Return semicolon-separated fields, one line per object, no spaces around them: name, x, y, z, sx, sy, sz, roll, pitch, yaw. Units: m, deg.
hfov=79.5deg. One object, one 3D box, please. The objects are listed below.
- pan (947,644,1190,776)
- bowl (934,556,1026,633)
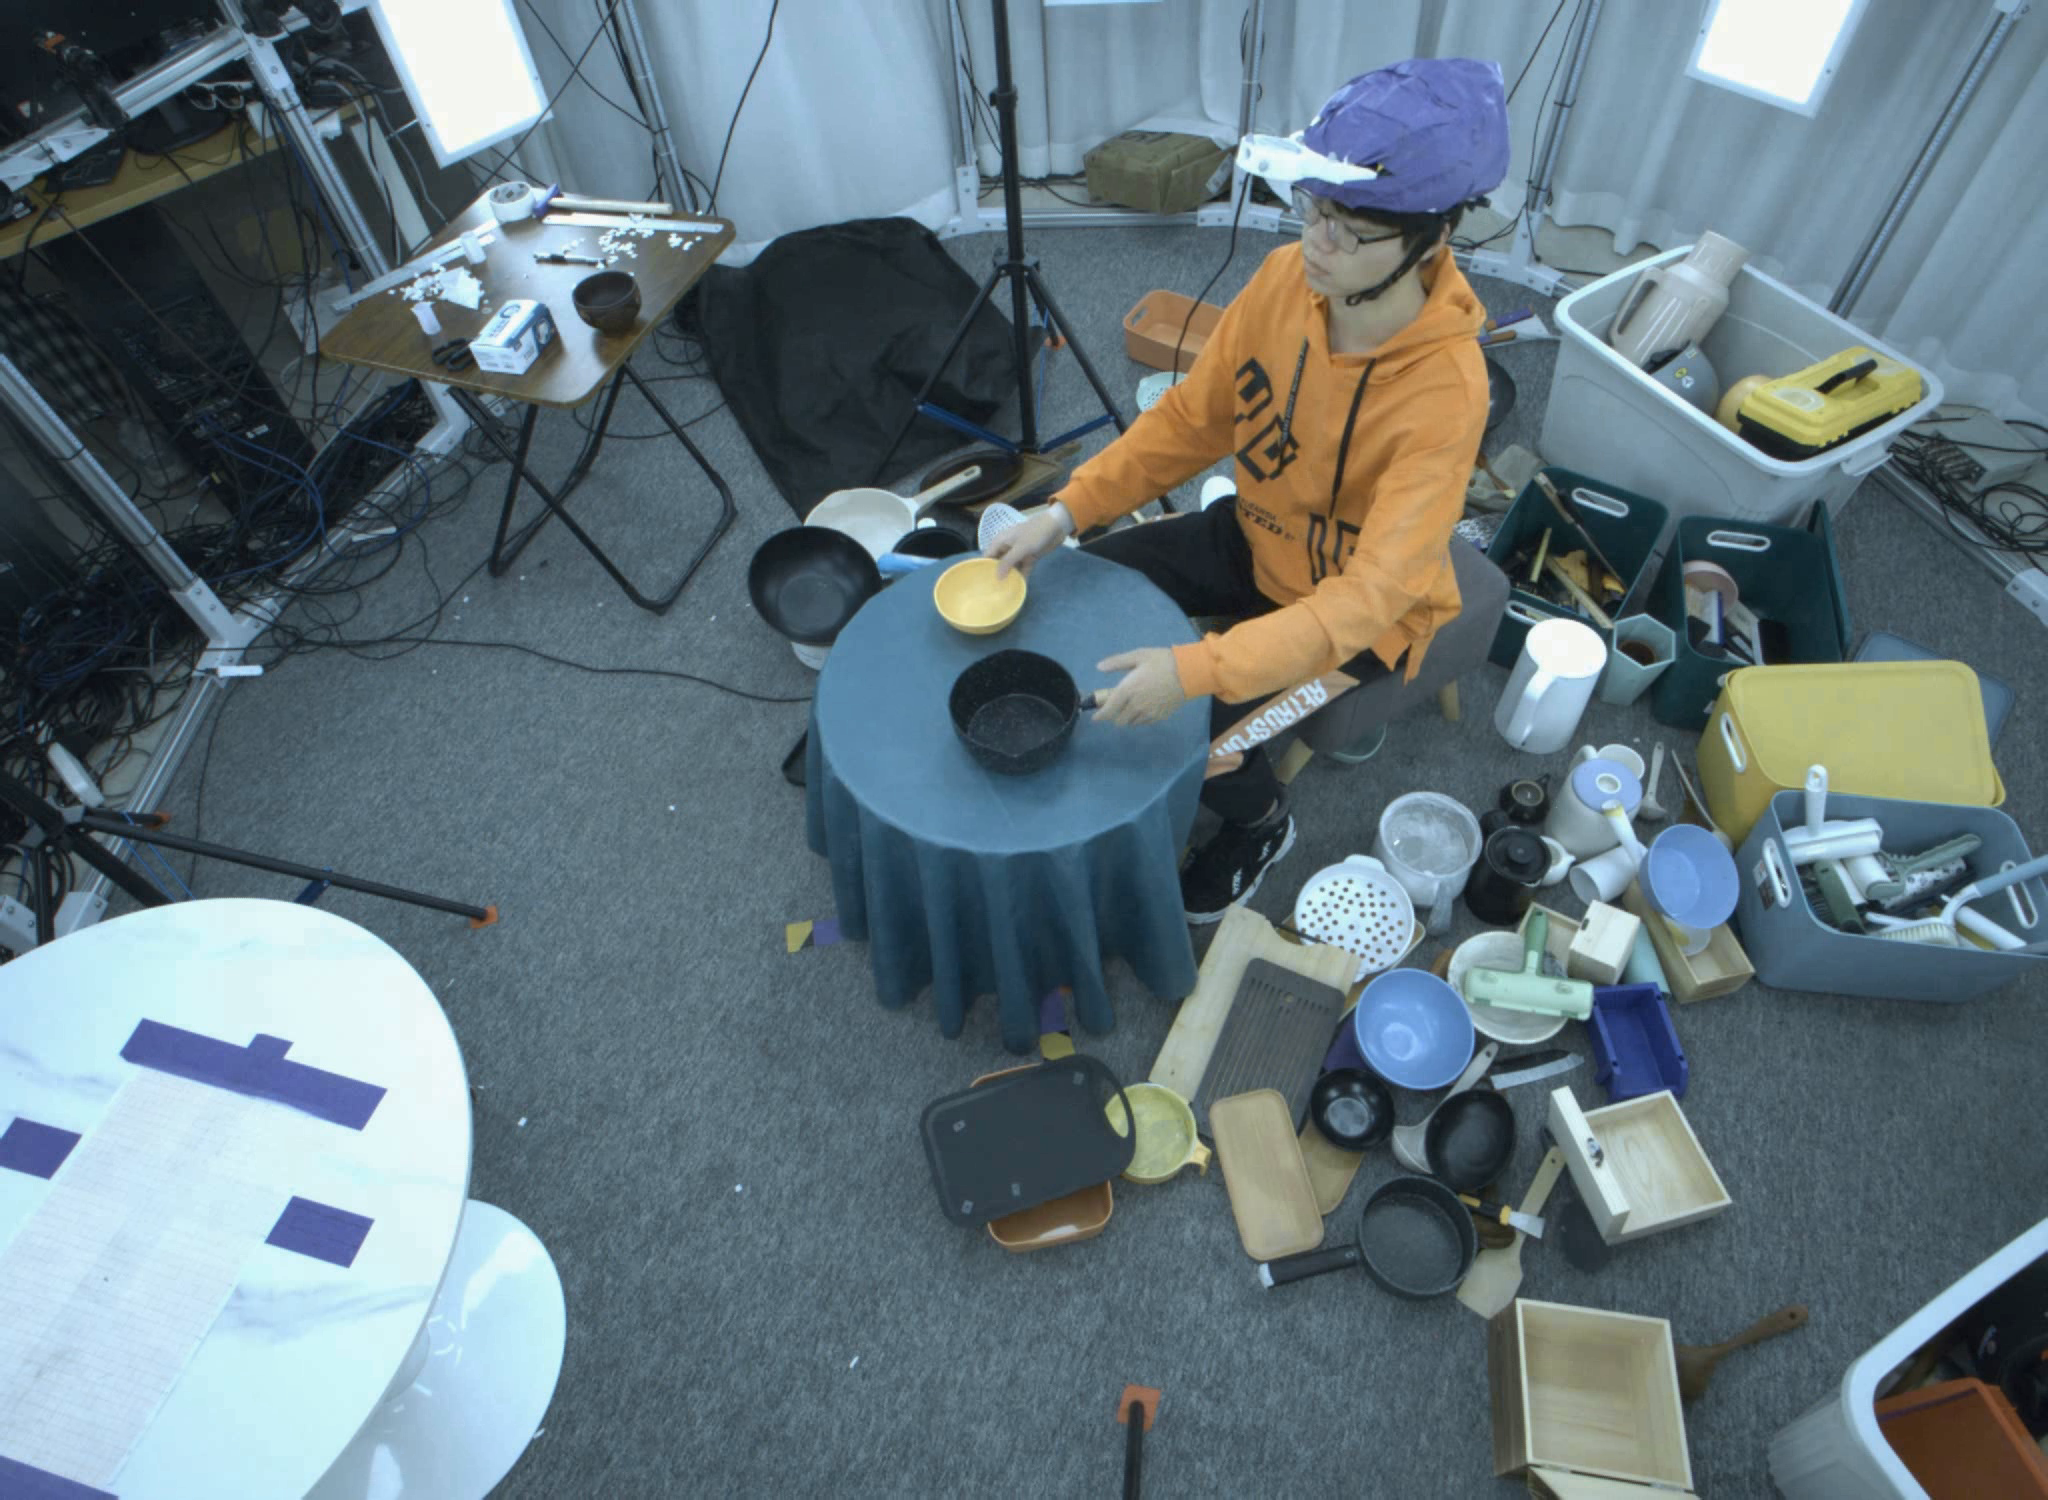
pan;0.065;-0.061;1.762;0.343;0.109;0.205;-6;53;0
bowl;-0.067;-0.231;1.917;0.145;0.061;0.144;0;56;2
